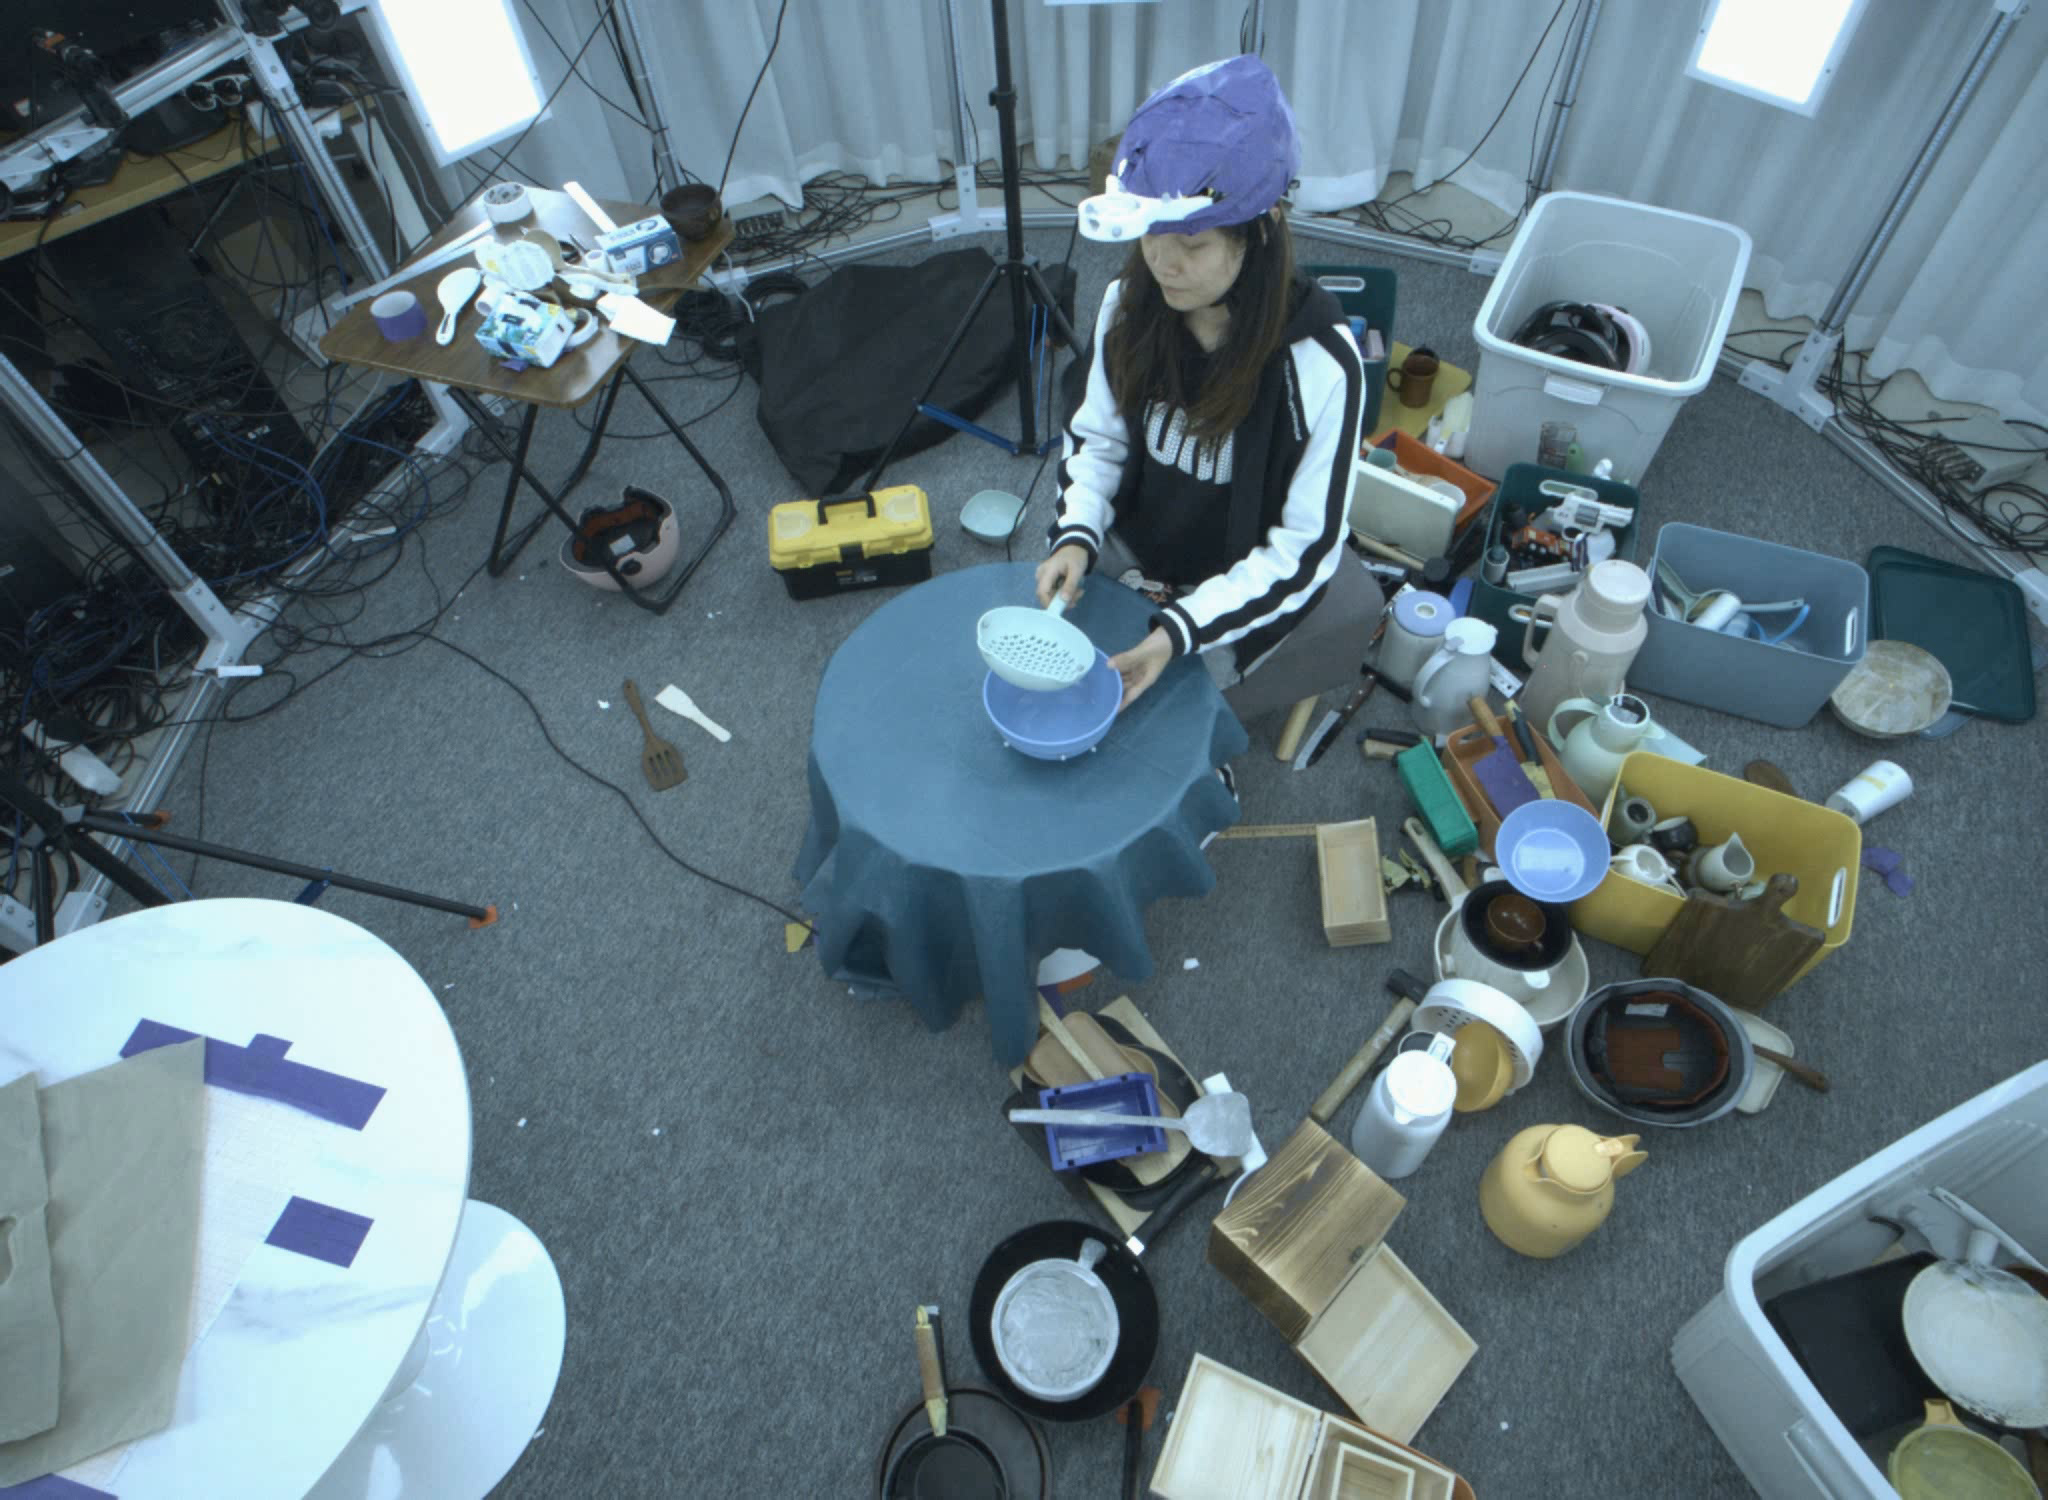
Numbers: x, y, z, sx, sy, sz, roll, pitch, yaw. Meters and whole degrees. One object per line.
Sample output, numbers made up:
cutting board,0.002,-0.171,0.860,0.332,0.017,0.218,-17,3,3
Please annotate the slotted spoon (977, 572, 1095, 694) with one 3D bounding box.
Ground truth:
slotted spoon,0.039,-0.188,1.784,0.169,0.075,0.358,24,43,1

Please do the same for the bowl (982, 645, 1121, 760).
bowl,0.042,-0.058,1.770,0.196,0.096,0.194,-1,54,2
